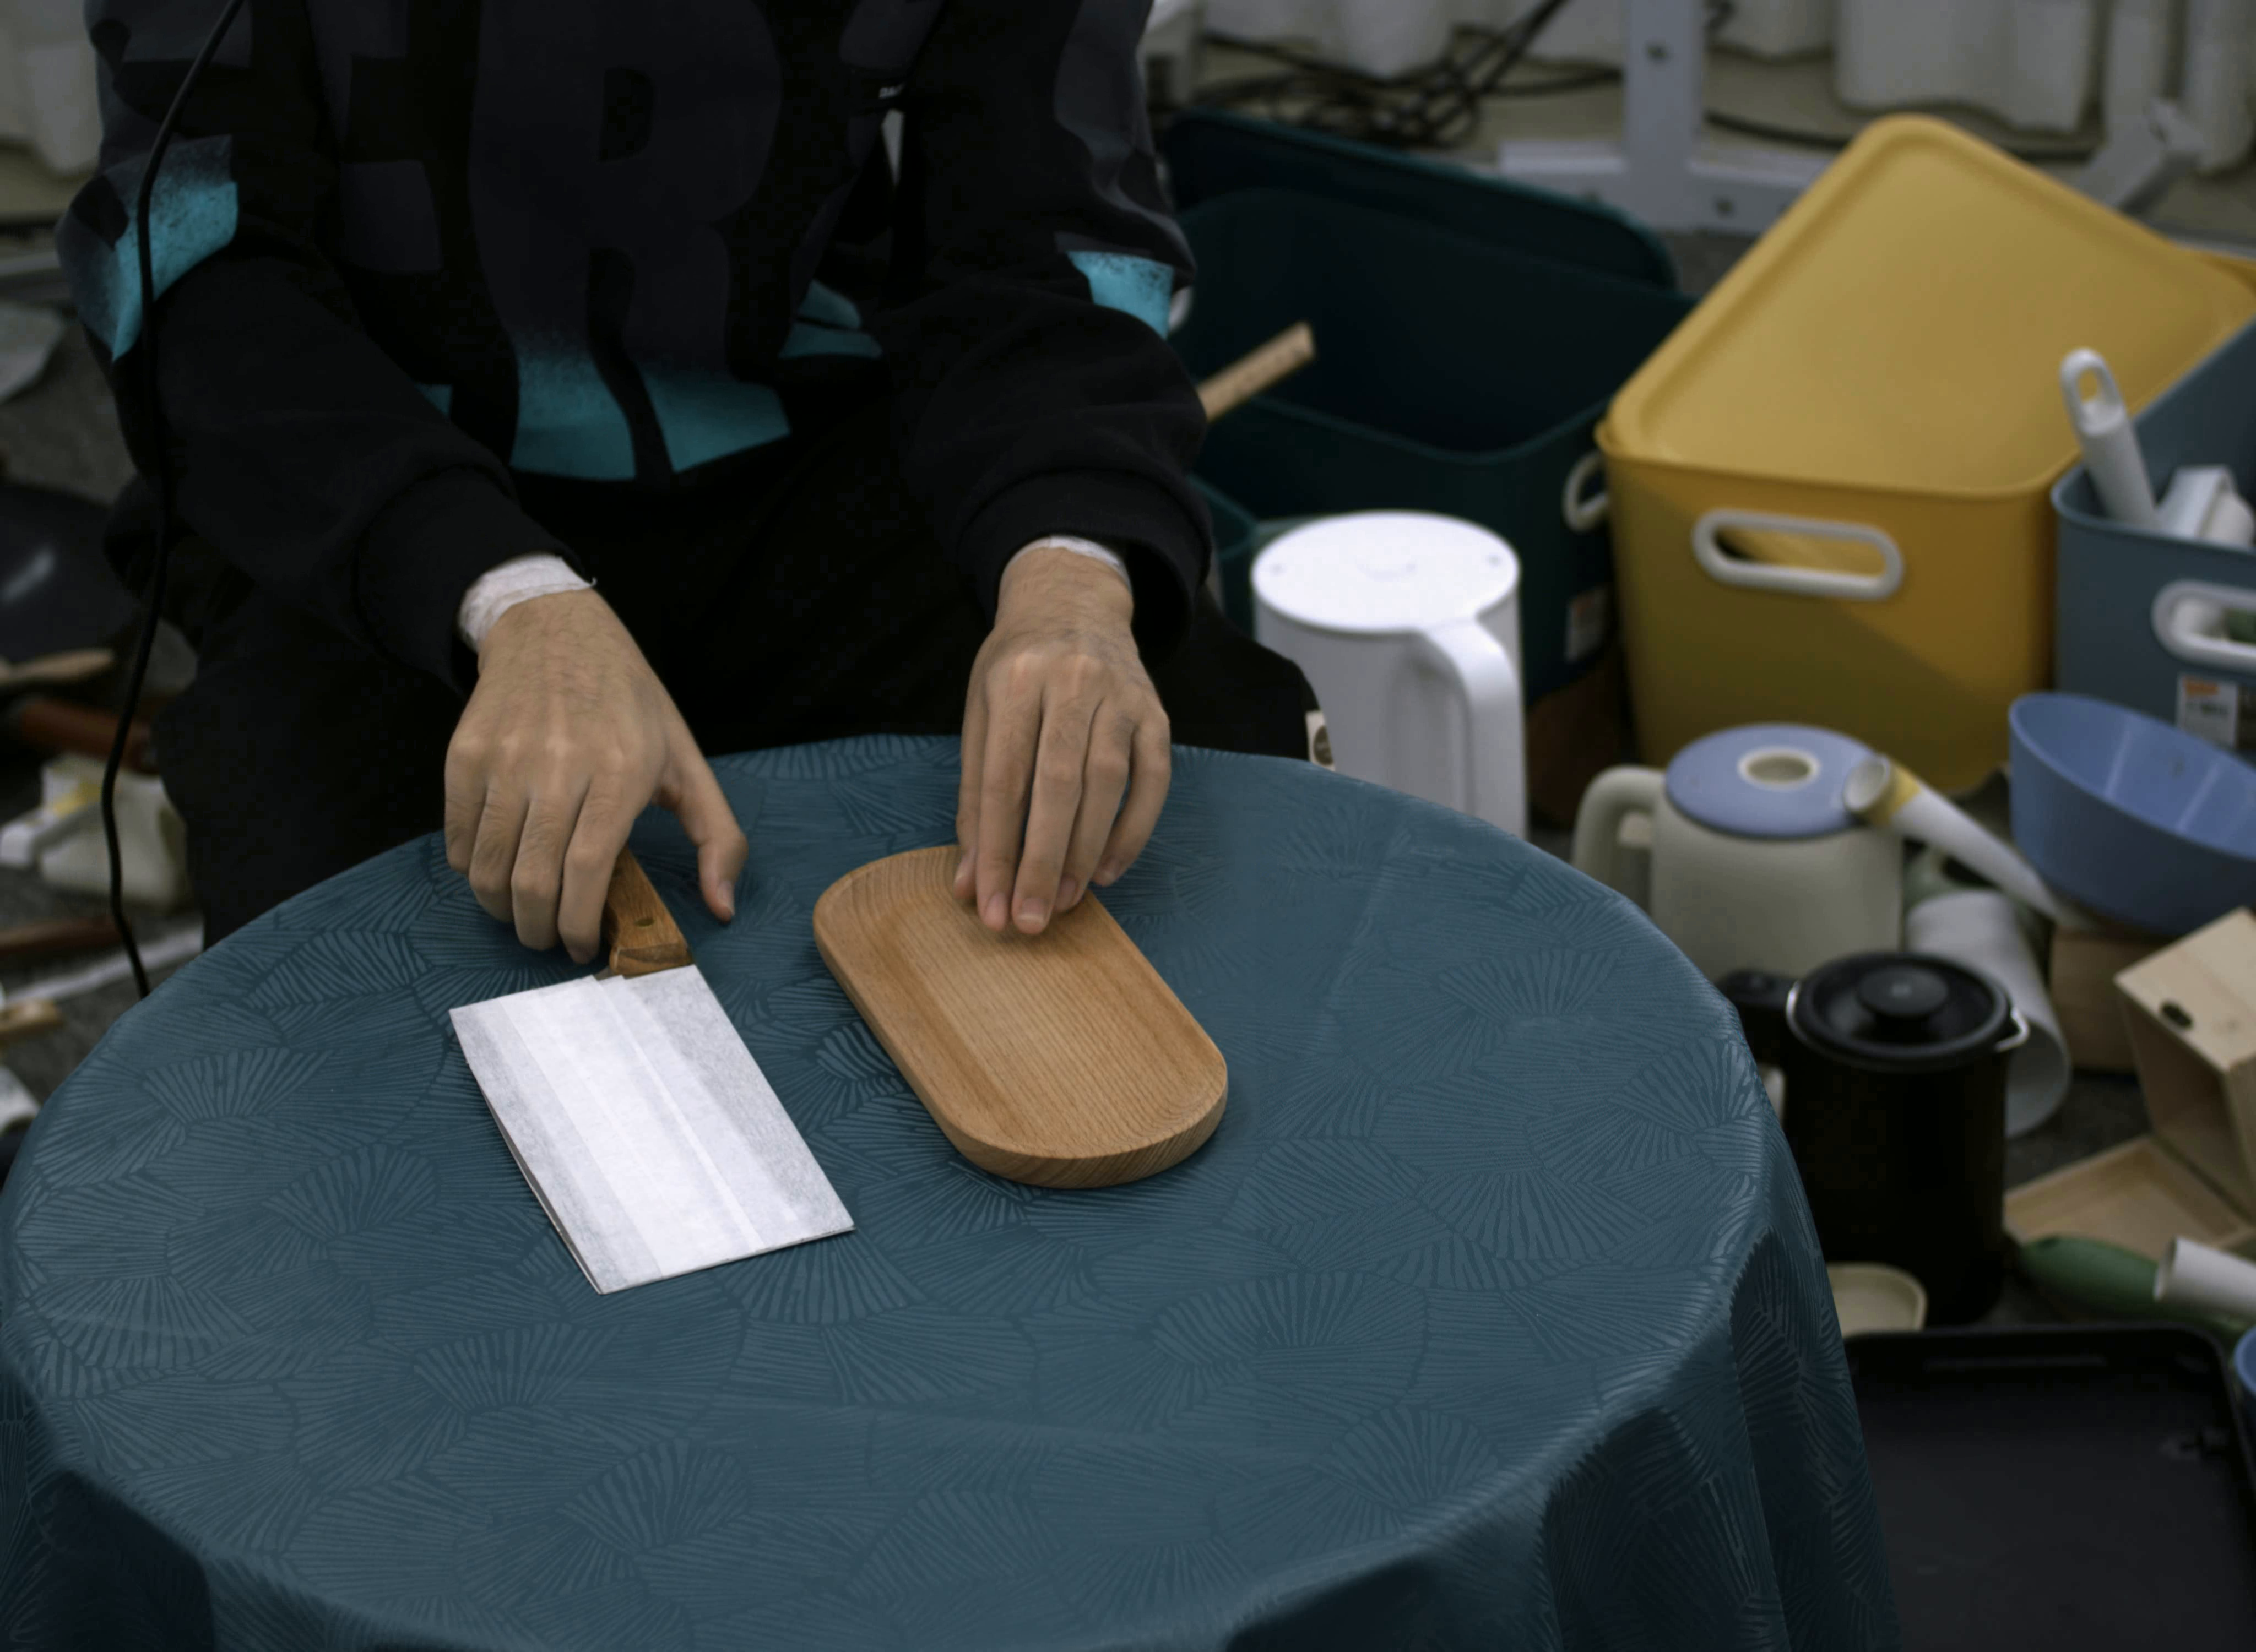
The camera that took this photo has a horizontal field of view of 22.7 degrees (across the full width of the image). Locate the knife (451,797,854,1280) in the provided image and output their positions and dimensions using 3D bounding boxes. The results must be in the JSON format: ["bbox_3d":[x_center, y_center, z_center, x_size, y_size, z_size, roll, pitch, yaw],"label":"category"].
[{"bbox_3d":[-0.183,0.073,1.957,0.093,0.021,0.308,-13,32,-16],"label":"knife"}]

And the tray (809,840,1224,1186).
[{"bbox_3d":[-0.040,0.063,1.960,0.102,0.020,0.233,-11,28,-17],"label":"tray"}]
